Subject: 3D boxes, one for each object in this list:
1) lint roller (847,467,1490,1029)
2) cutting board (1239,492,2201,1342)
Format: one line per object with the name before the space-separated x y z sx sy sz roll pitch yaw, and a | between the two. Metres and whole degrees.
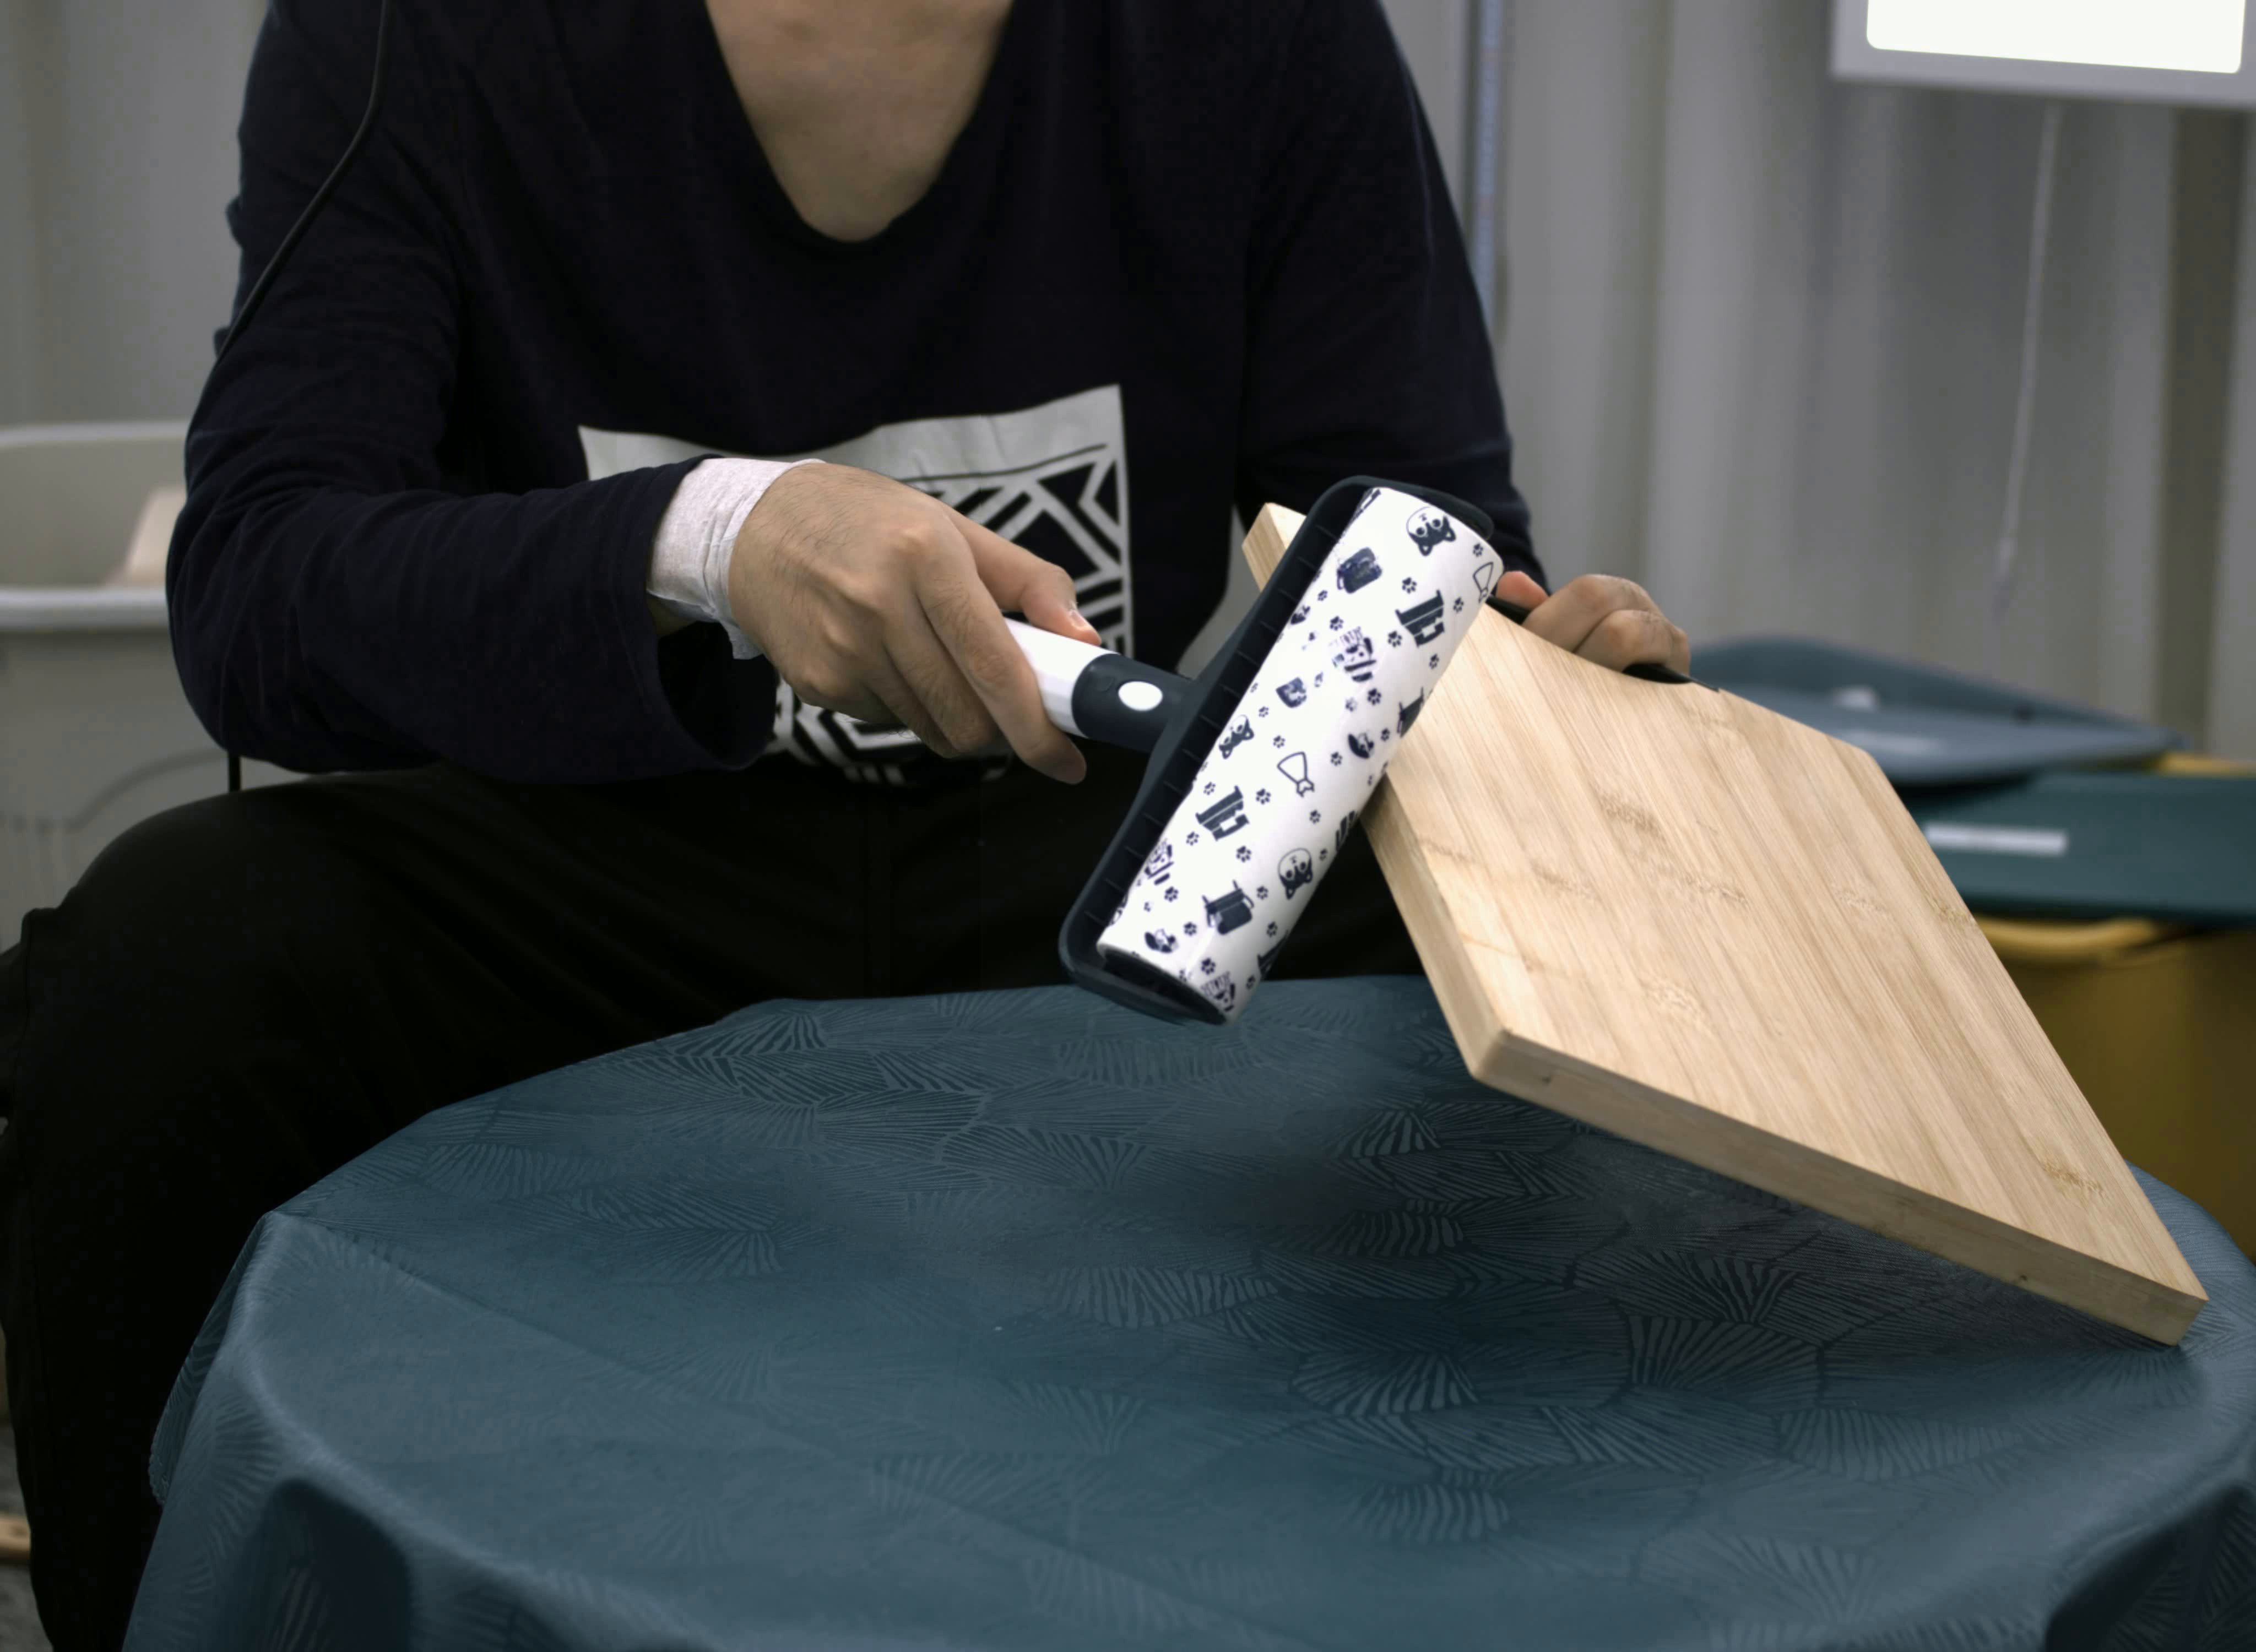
lint roller | -0.015 -0.041 1.605 0.244 0.176 0.051 17 -16 48
cutting board | 0.170 0.020 1.607 0.252 0.023 0.345 22 22 -22
